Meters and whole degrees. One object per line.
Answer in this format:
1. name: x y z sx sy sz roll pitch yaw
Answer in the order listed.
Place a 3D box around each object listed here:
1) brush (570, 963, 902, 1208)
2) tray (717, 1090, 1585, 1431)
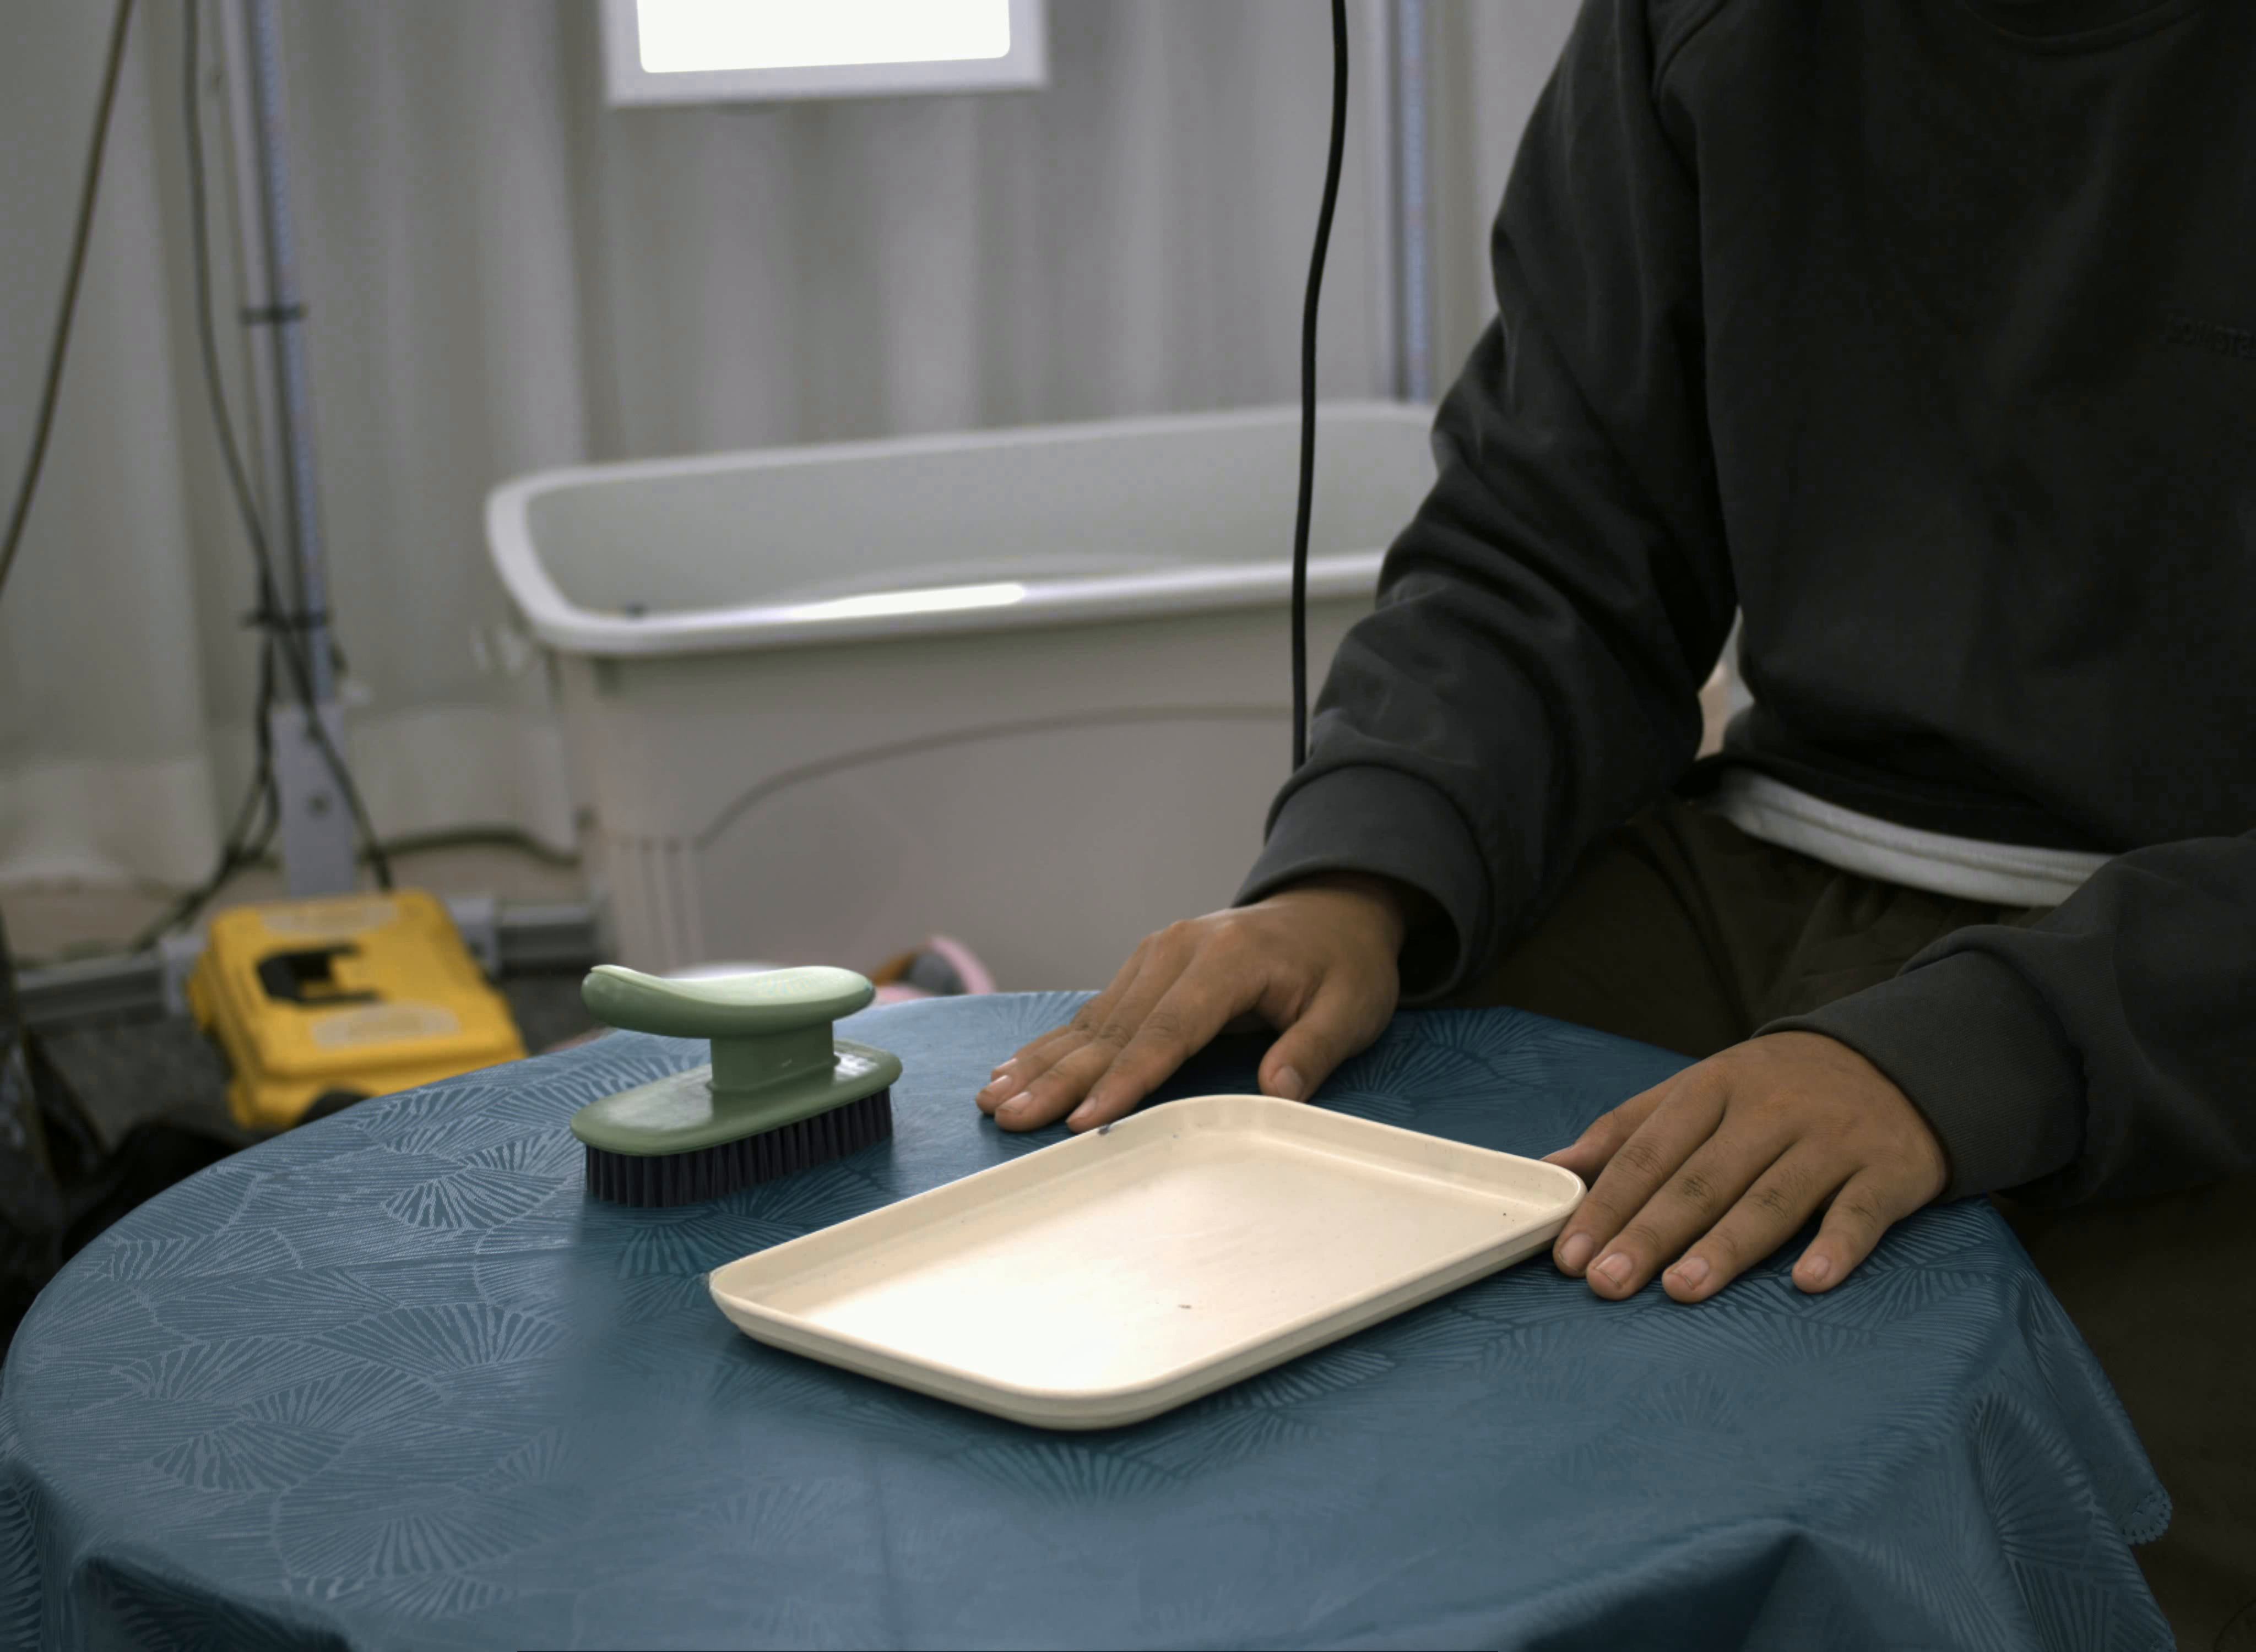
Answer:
1. brush: -0.127 0.083 1.758 0.060 0.076 0.122 12 7 43
2. tray: 0.009 0.128 1.630 0.172 0.017 0.239 12 21 42
